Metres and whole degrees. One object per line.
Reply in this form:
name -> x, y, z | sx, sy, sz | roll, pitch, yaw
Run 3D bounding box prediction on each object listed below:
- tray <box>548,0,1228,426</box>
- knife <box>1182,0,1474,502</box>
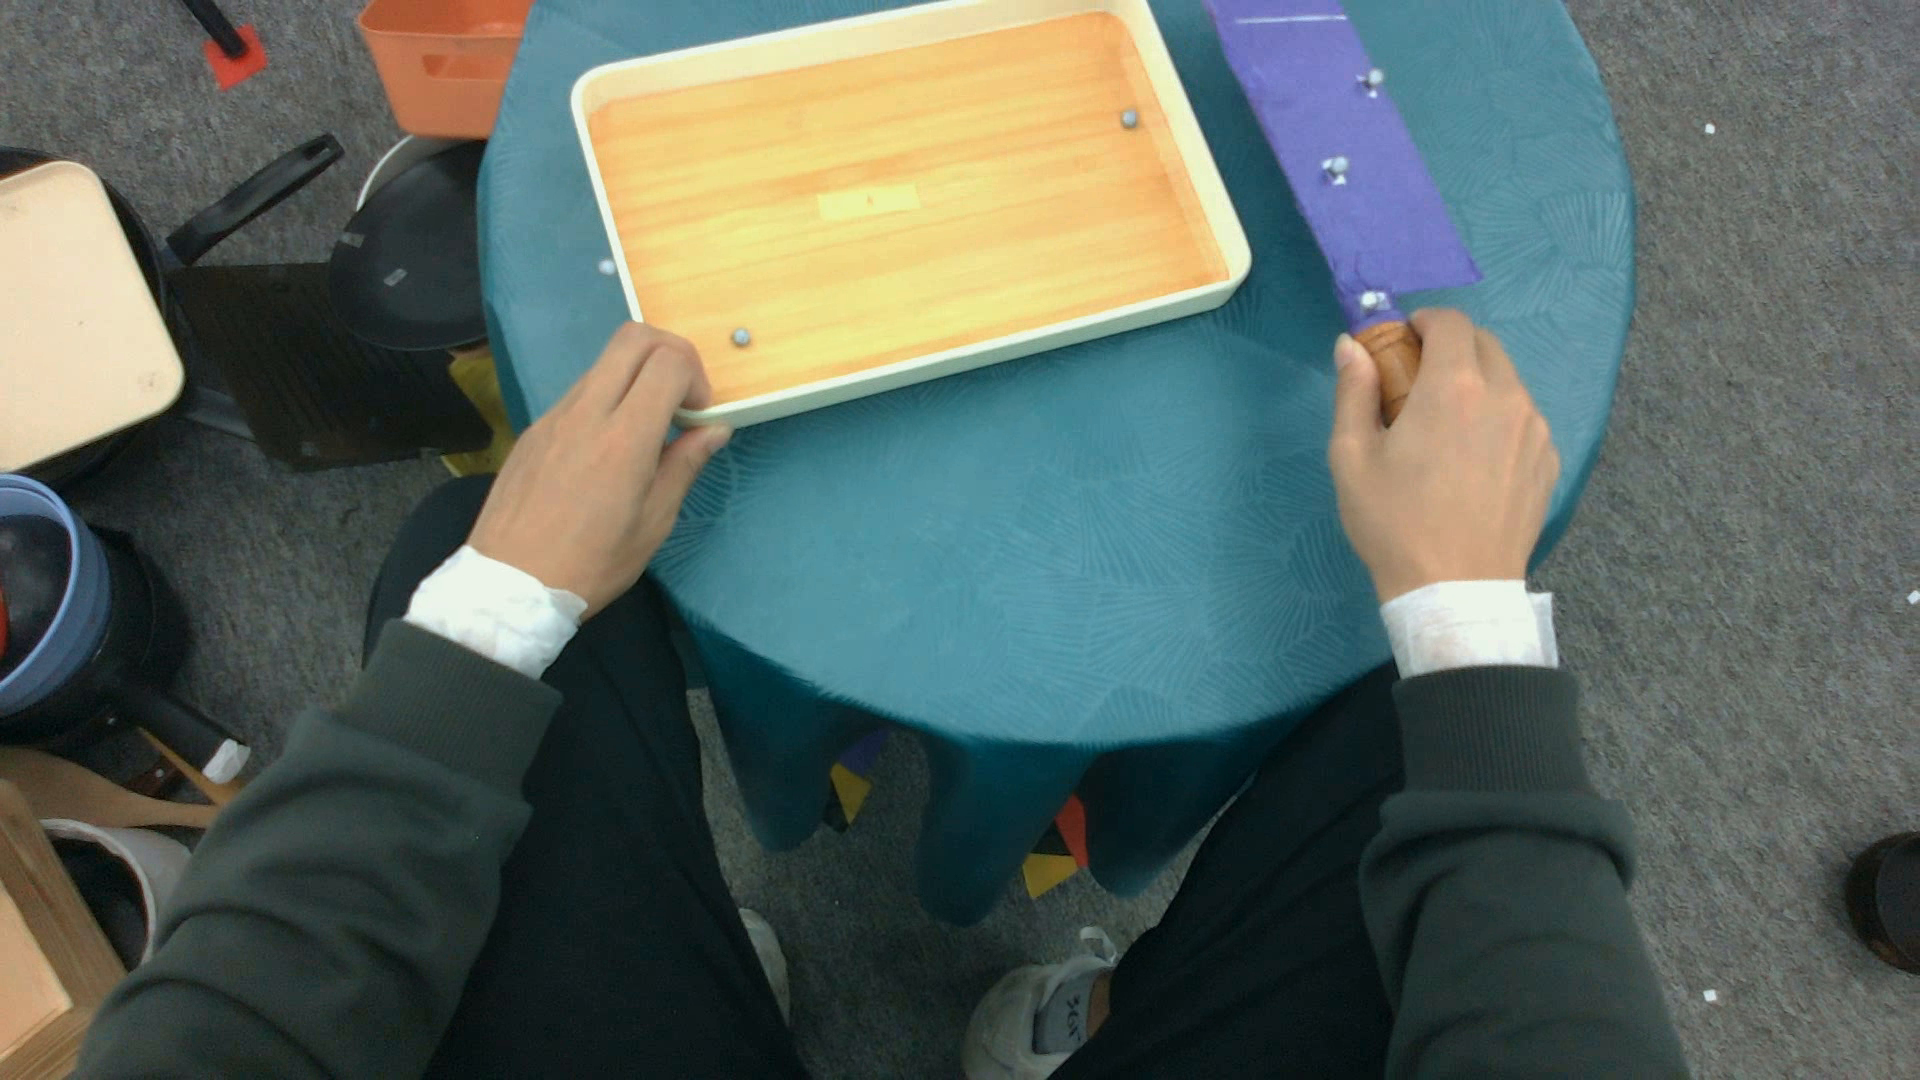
tray -> -0.033, -0.177, 0.683 | 0.301, 0.027, 0.192 | -16, 74, -14
knife -> 0.185, -0.171, 0.657 | 0.104, 0.032, 0.315 | -13, 75, -28
